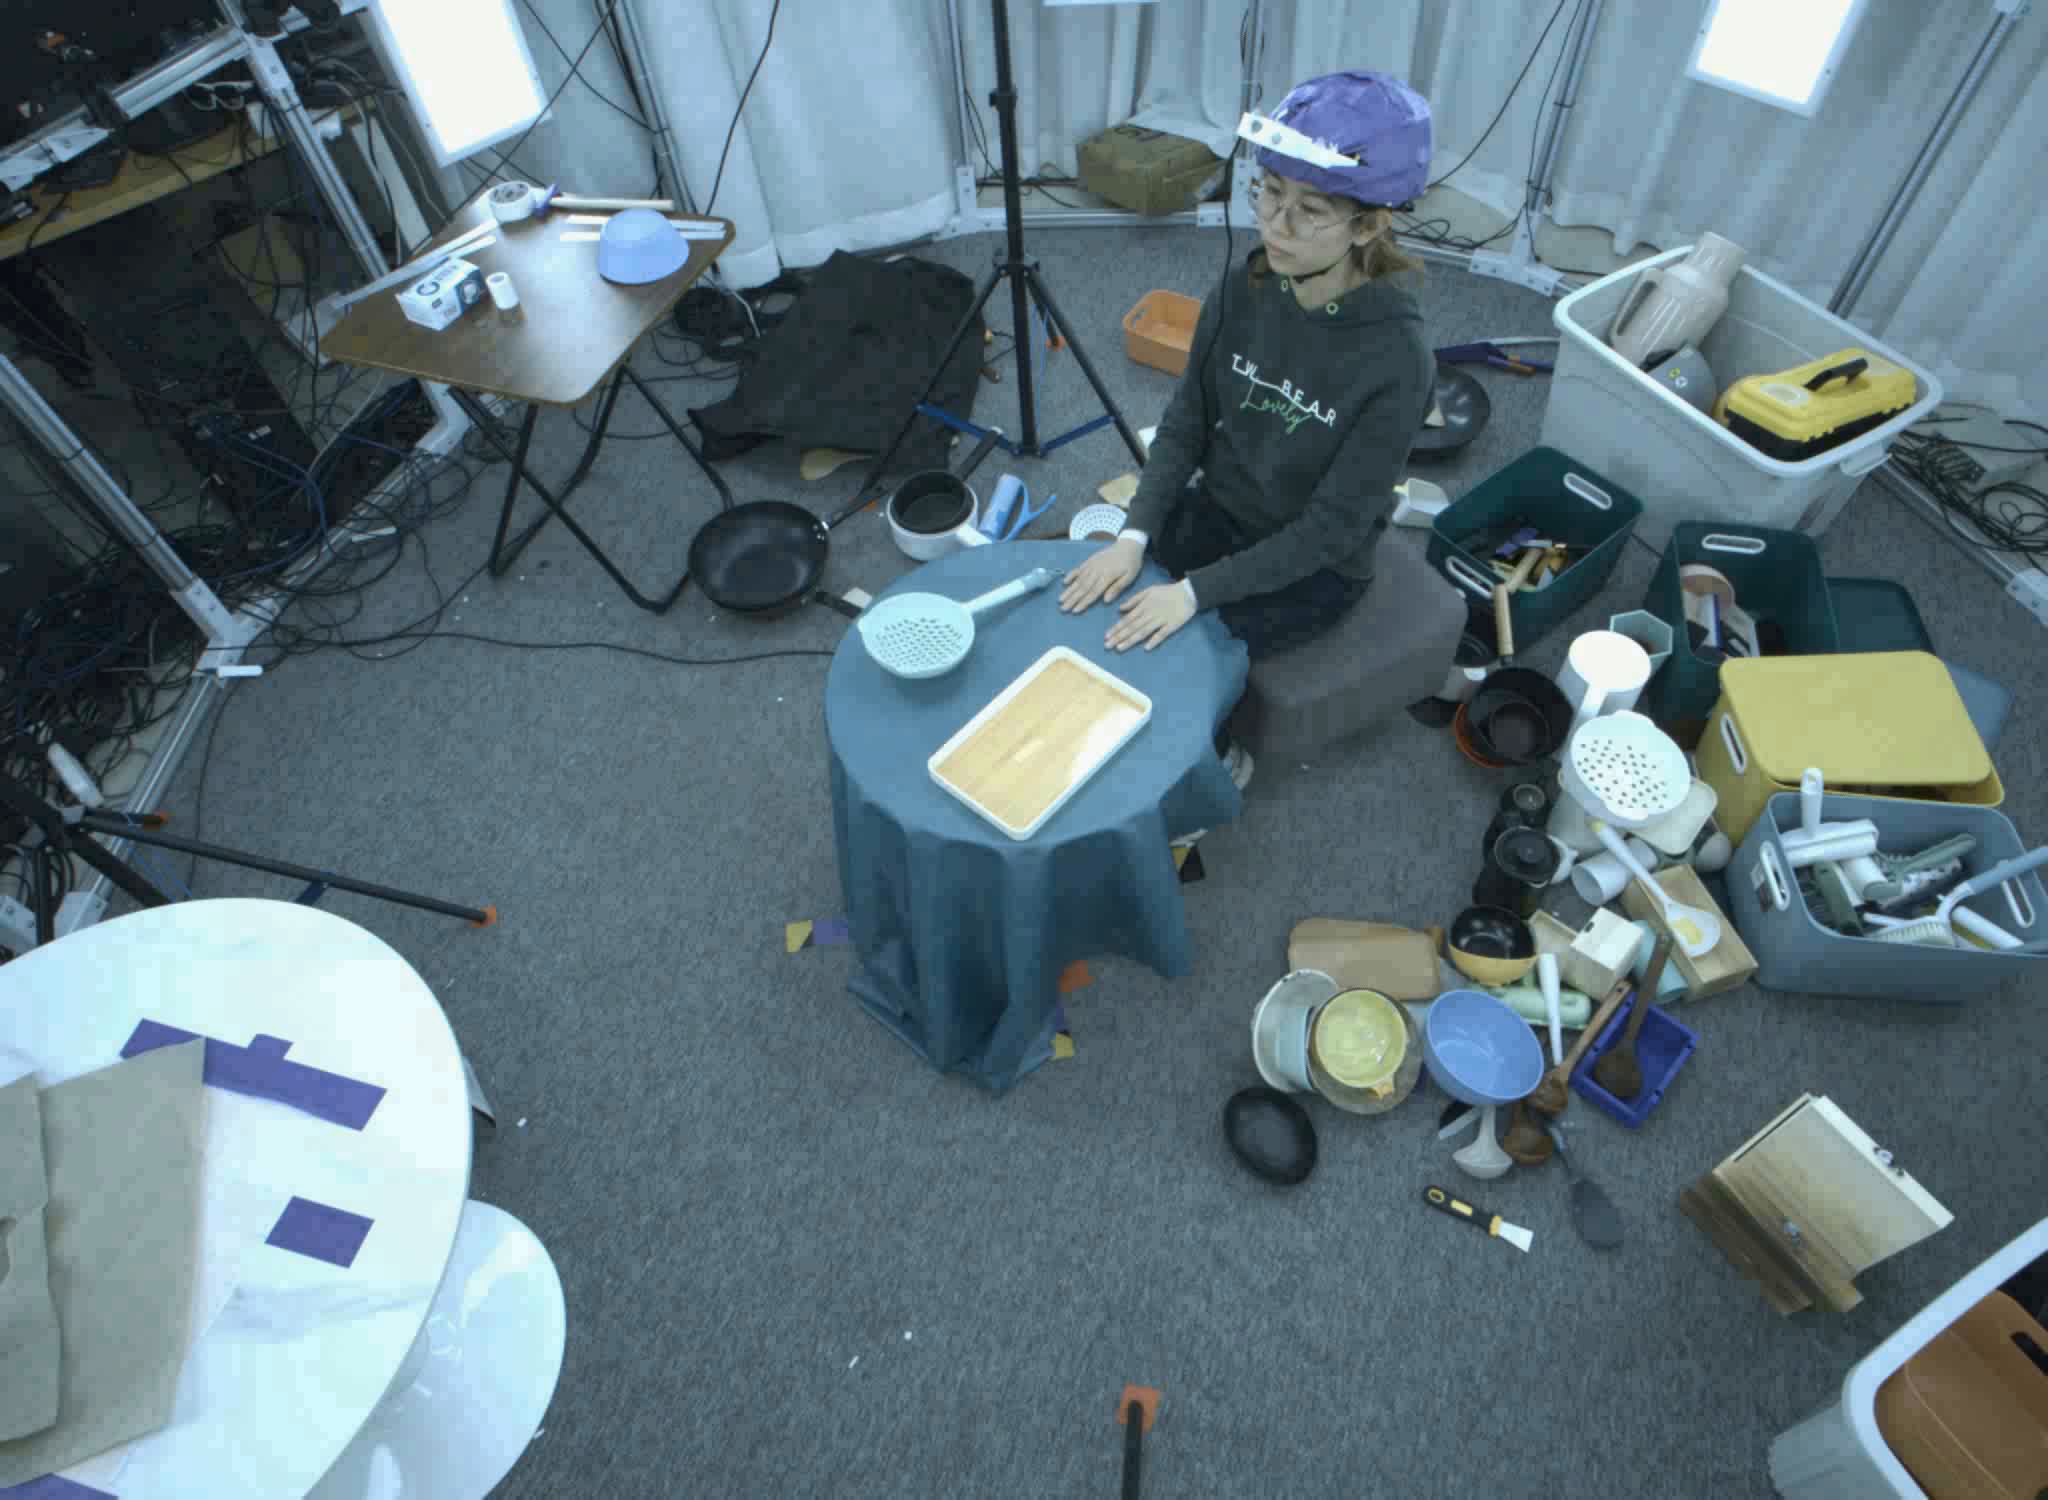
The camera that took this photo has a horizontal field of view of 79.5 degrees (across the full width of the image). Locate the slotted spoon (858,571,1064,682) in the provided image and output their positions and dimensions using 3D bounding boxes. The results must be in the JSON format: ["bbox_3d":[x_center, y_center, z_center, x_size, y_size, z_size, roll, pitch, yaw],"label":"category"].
[{"bbox_3d":[-0.082,-0.212,1.909,0.361,0.076,0.166,-33,61,-20],"label":"slotted spoon"}]

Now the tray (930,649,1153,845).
[{"bbox_3d":[0.028,-0.010,1.788,0.188,0.028,0.302,35,63,23],"label":"tray"}]
